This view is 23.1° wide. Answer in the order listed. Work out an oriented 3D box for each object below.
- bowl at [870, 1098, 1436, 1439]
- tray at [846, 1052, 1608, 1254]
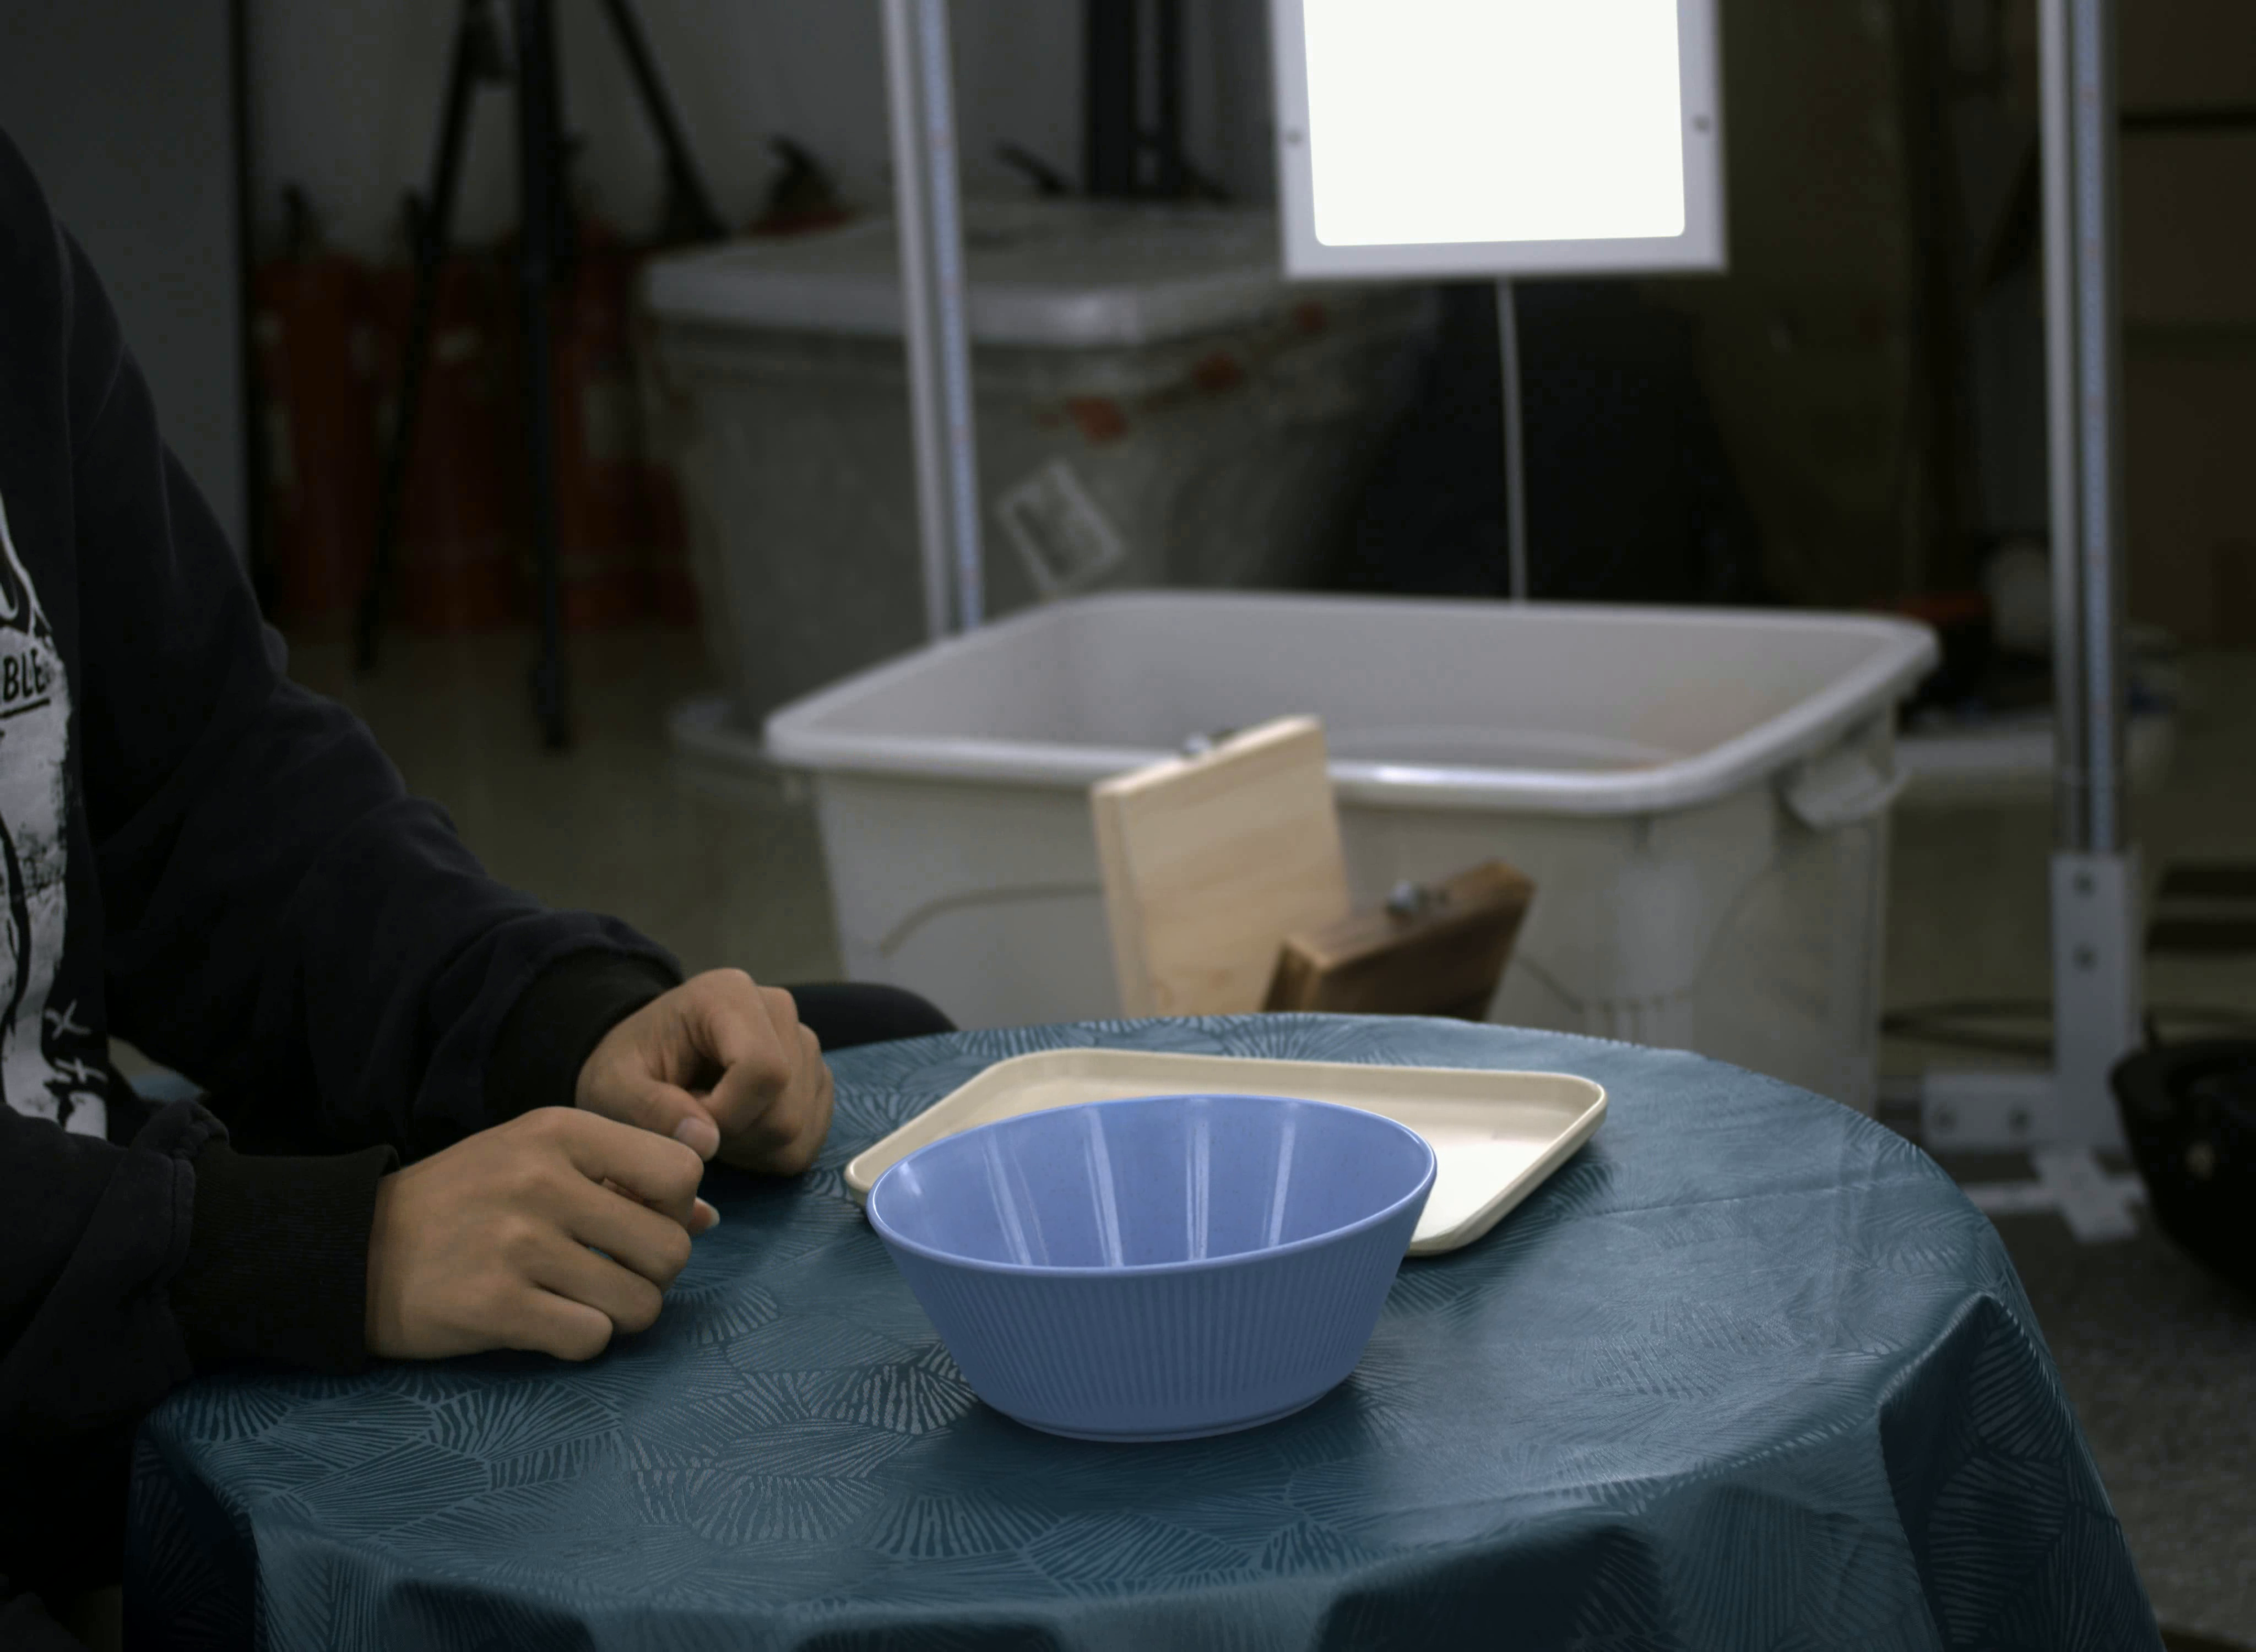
[{"bbox_3d":[0.010,0.139,1.694,0.175,0.070,0.176,-5,13,0],"label":"bowl"},{"bbox_3d":[0.036,0.113,1.903,0.244,0.017,0.168,2,15,26],"label":"tray"}]
